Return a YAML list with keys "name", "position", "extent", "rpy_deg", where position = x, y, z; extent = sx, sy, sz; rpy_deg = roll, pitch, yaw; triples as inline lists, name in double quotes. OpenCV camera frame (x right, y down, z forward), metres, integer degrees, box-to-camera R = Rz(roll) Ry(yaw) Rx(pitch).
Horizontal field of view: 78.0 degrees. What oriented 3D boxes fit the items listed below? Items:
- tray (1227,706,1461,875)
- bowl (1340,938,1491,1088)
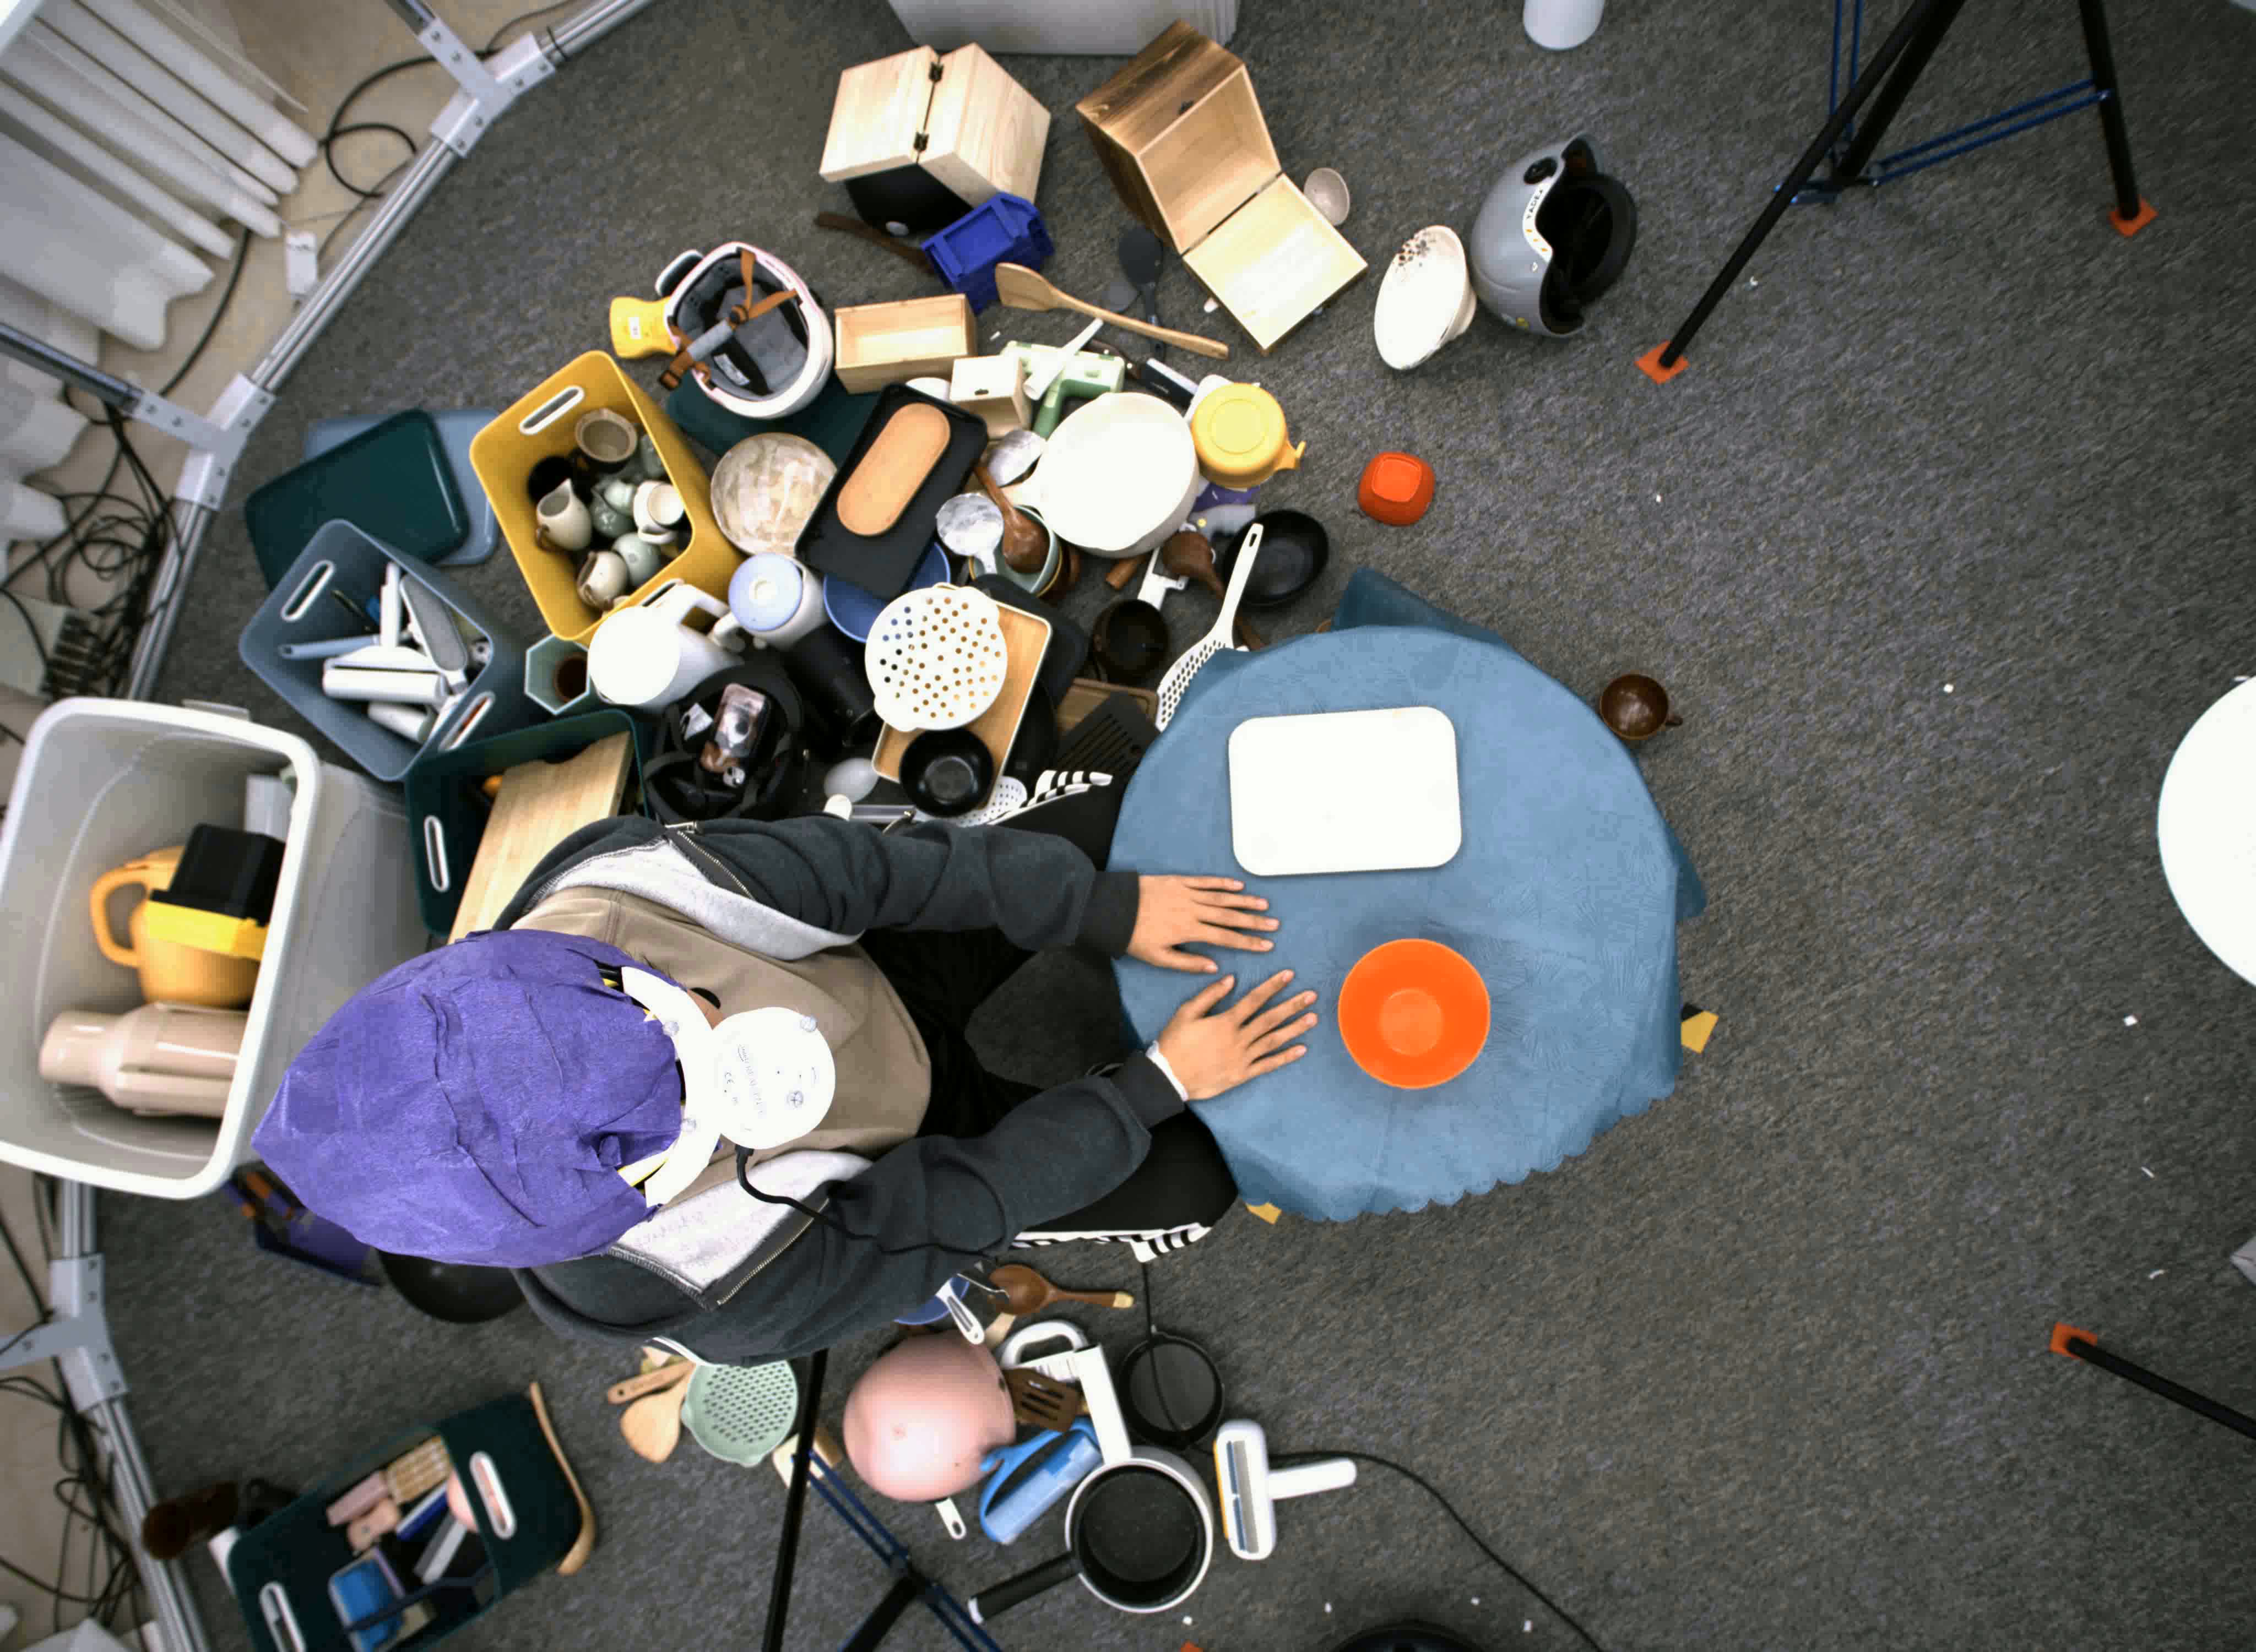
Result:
- name: "tray"
  position: [0.228, -0.038, 1.464]
  extent: [0.241, 0.017, 0.170]
  rpy_deg: [-3, 87, 10]
- name: "bowl"
  position: [0.289, 0.187, 1.398]
  extent: [0.148, 0.105, 0.147]
  rpy_deg: [-1, 85, 9]
